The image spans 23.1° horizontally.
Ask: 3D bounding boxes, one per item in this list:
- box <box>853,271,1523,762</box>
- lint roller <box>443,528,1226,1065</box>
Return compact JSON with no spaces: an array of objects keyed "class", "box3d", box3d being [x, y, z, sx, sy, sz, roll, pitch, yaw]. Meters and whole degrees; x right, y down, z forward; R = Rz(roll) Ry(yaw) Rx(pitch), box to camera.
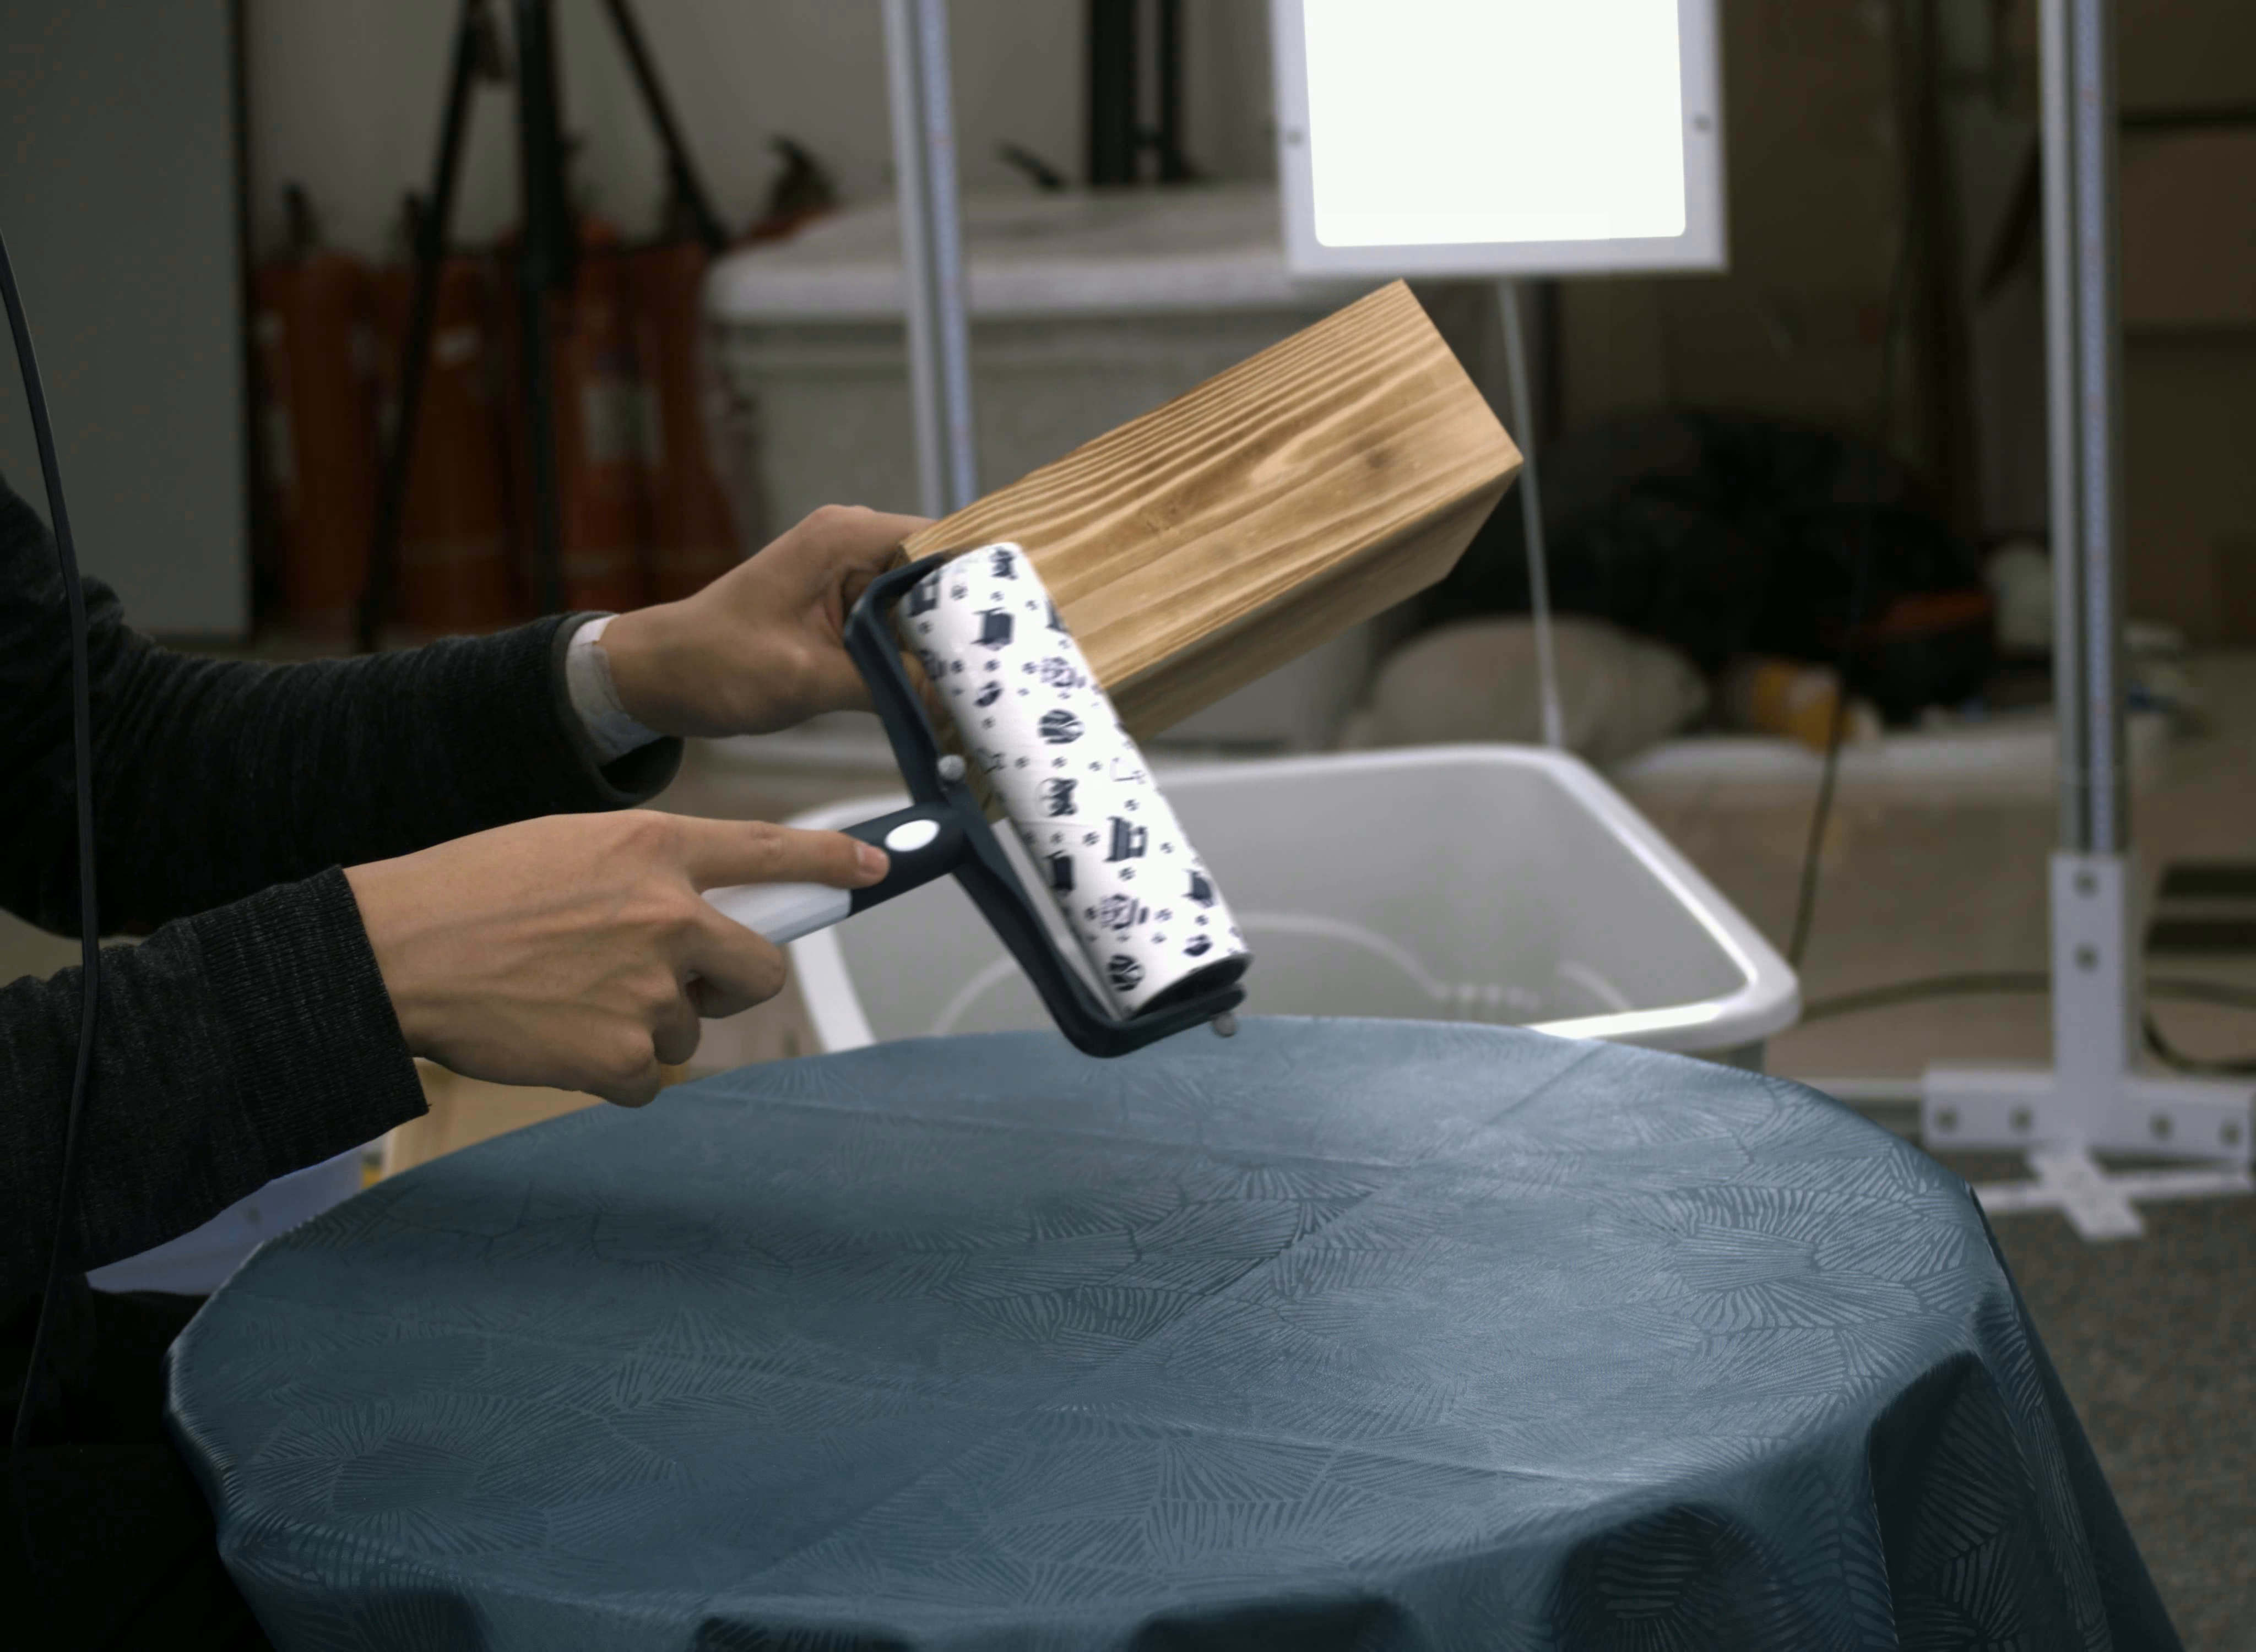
[{"class":"box","box3d":[0.020,-0.094,1.905,0.208,0.080,0.108,-29,-12,-19]},{"class":"lint roller","box3d":[-0.102,0.019,1.720,0.241,0.177,0.051,-22,-12,-31]}]
